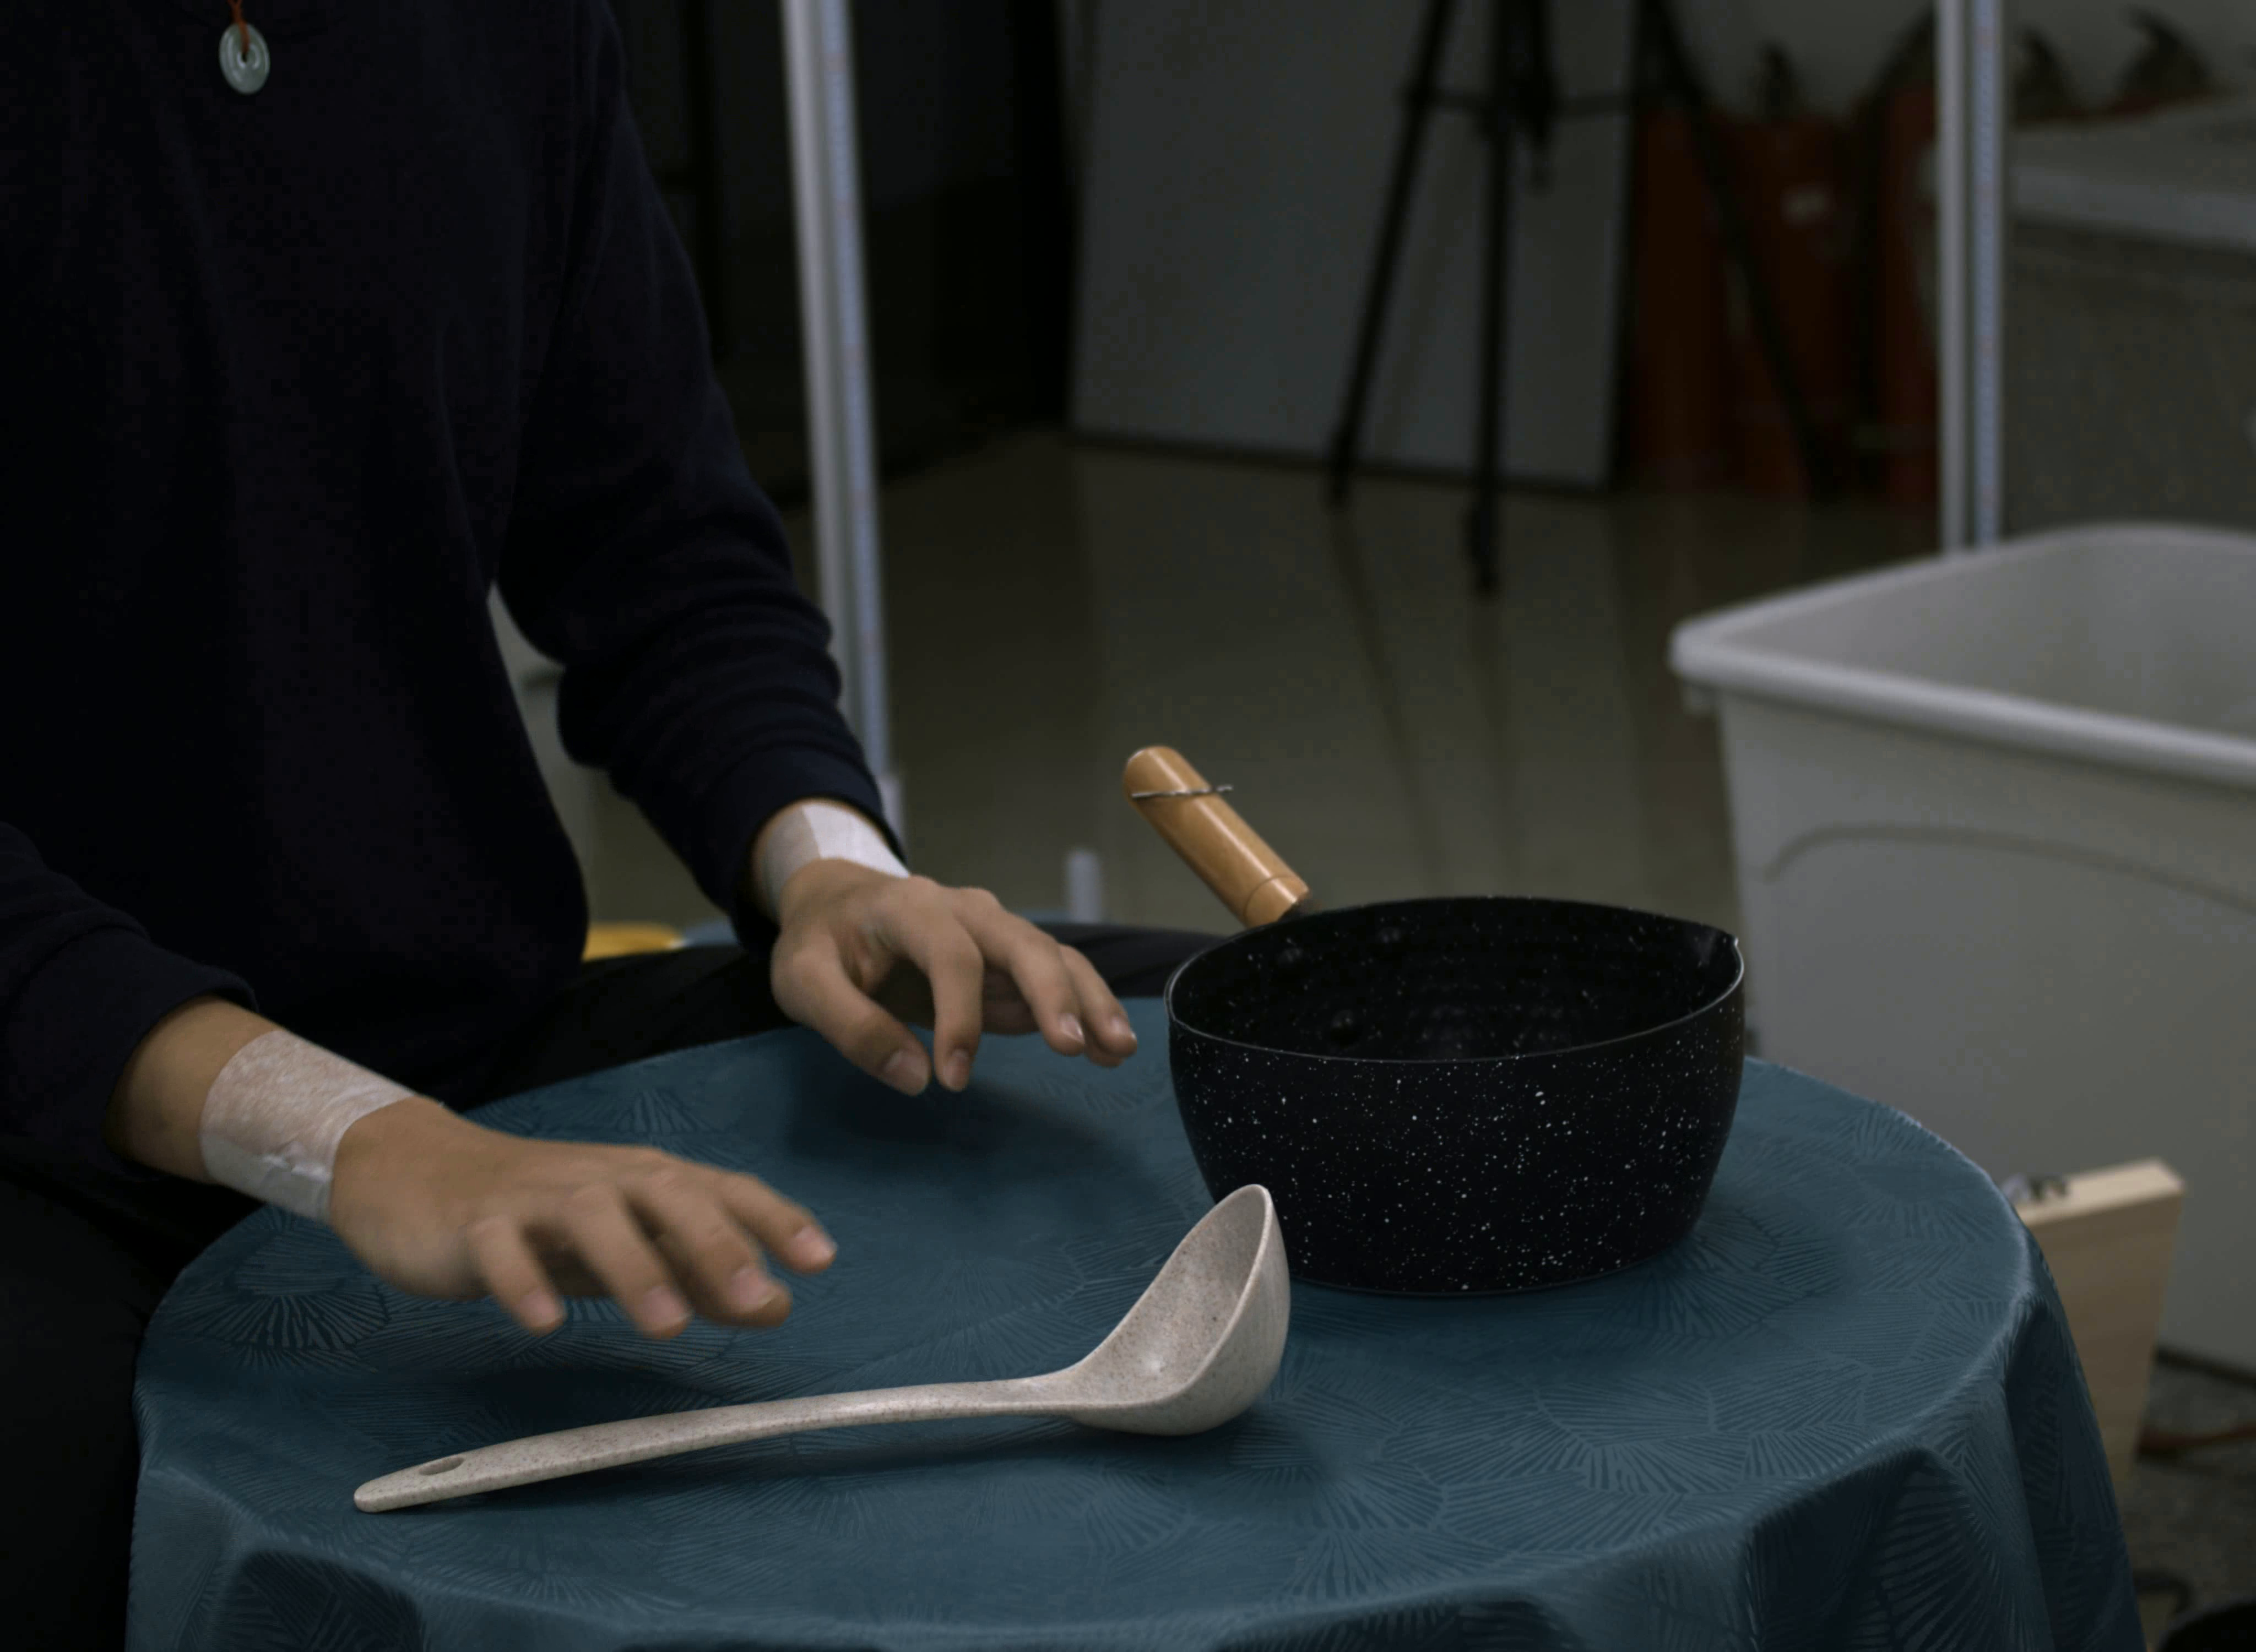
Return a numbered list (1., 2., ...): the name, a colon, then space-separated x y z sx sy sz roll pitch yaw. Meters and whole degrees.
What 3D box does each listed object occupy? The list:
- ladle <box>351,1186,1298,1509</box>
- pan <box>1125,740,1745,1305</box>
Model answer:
1. ladle: -0.085 0.148 1.534 0.270 0.070 0.090 -4 21 -8
2. pan: 0.073 0.059 1.775 0.203 0.109 0.346 -11 16 -21
